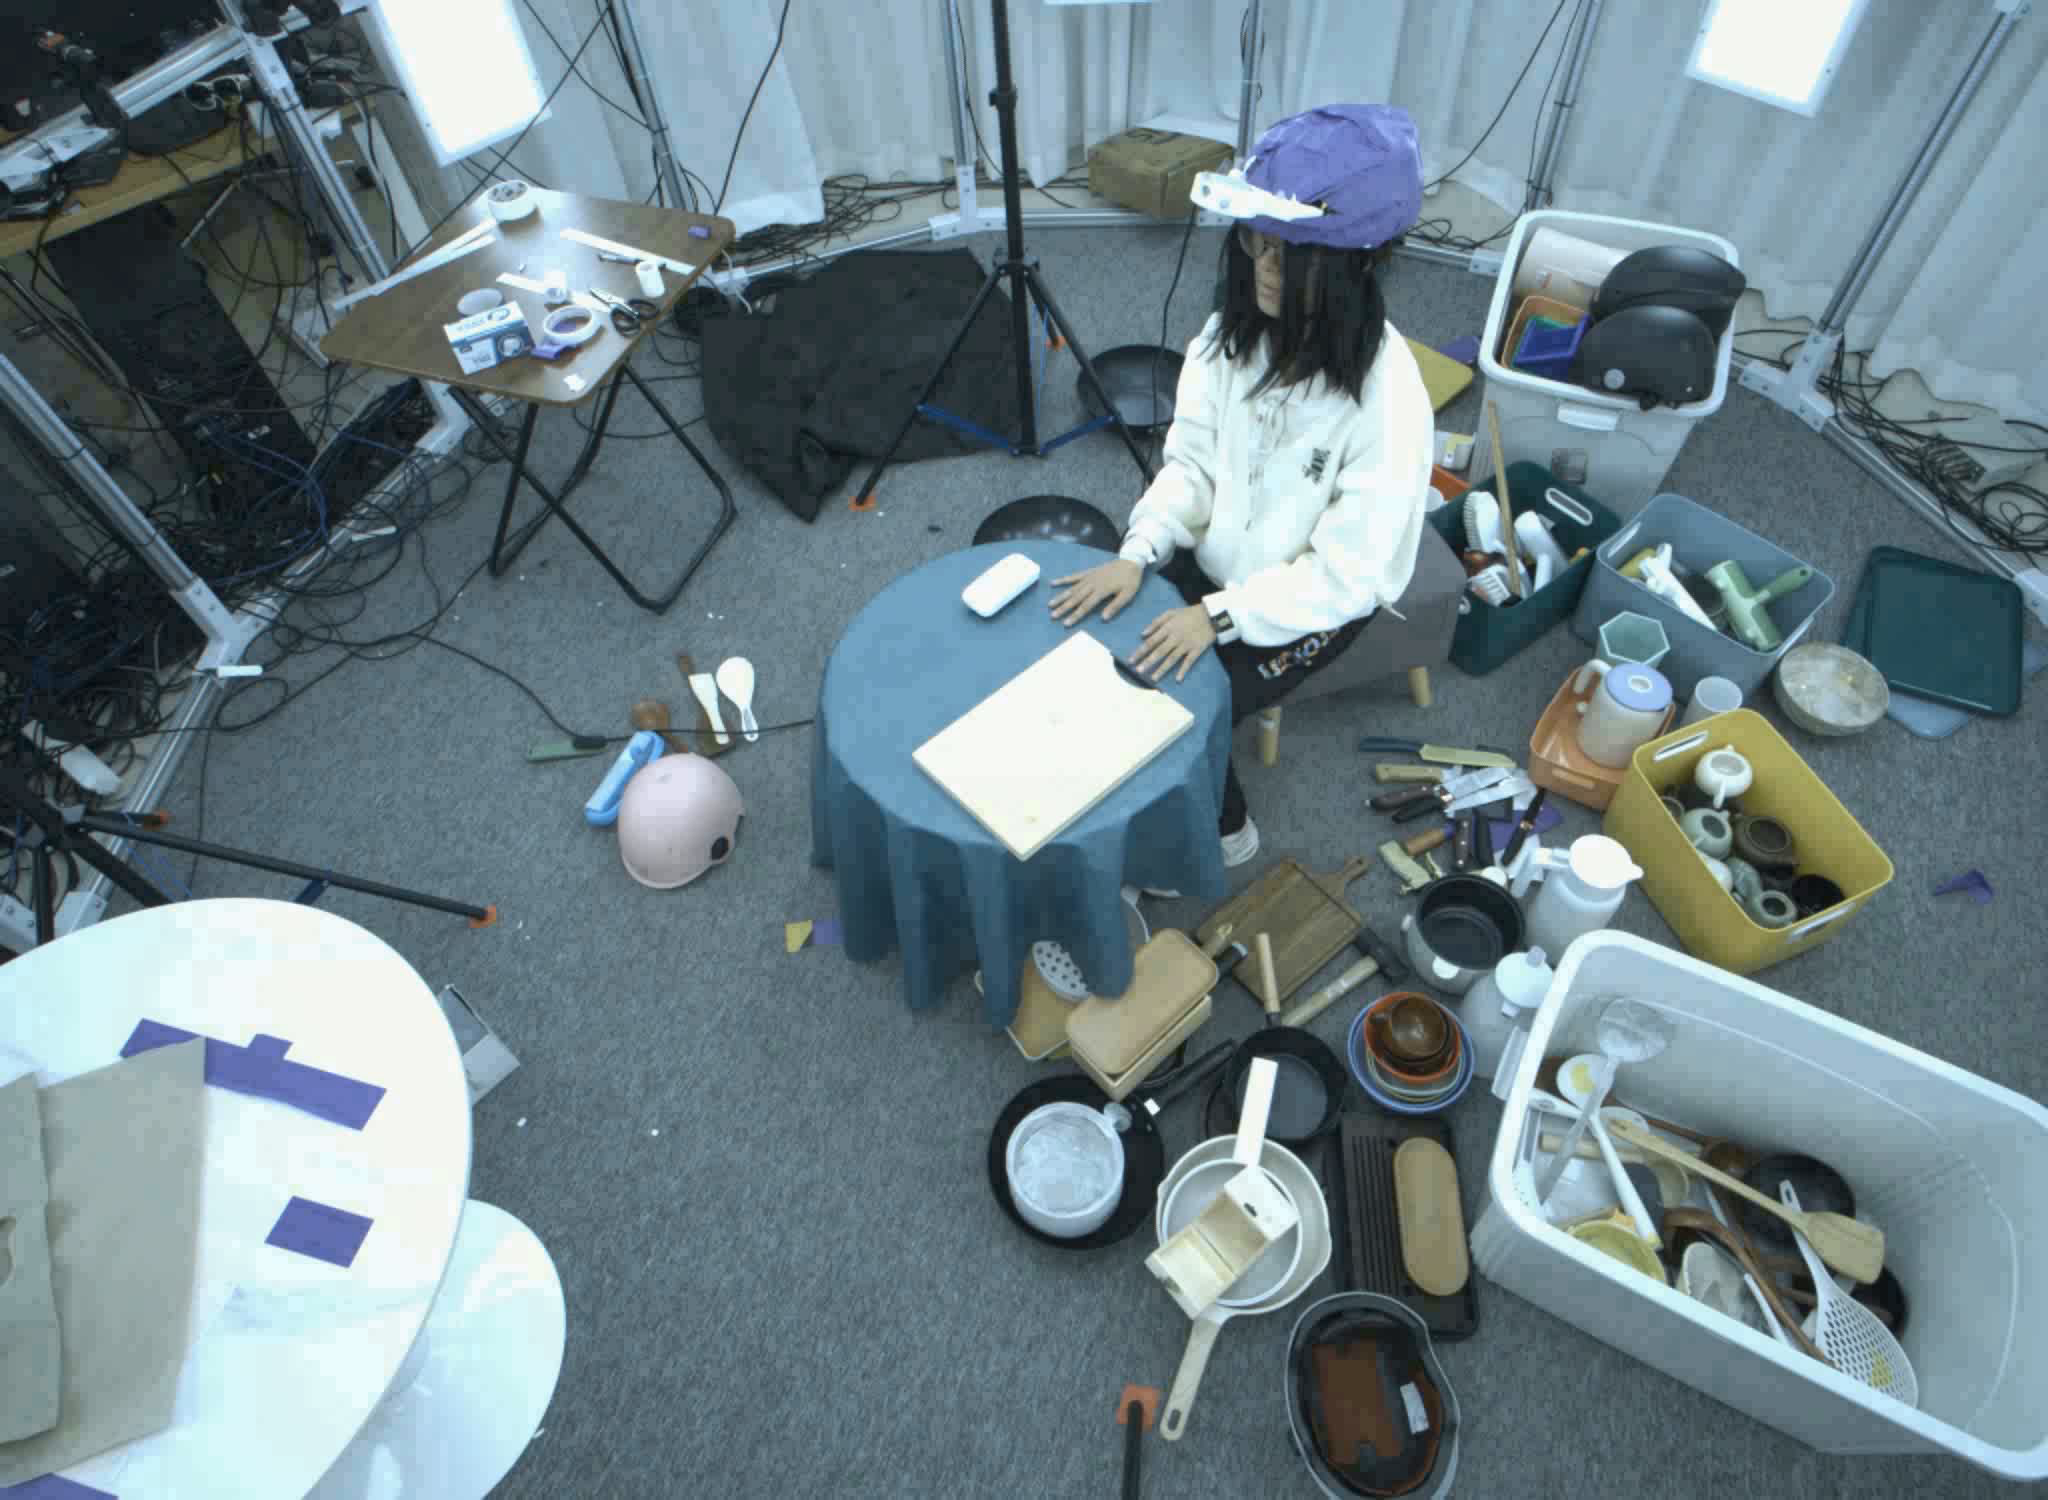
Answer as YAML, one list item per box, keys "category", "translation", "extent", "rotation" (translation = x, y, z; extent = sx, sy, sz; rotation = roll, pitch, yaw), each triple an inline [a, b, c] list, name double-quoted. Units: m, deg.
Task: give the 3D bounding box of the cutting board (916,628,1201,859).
- category: "cutting board"
  translation: [0.049, -0.019, 1.790]
  extent: [0.351, 0.024, 0.246]
  rotation: [-39, 62, -23]

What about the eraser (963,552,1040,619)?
- category: "eraser"
  translation: [-0.035, -0.264, 1.957]
  extent: [0.062, 0.035, 0.132]
  rotation: [39, 65, 25]
